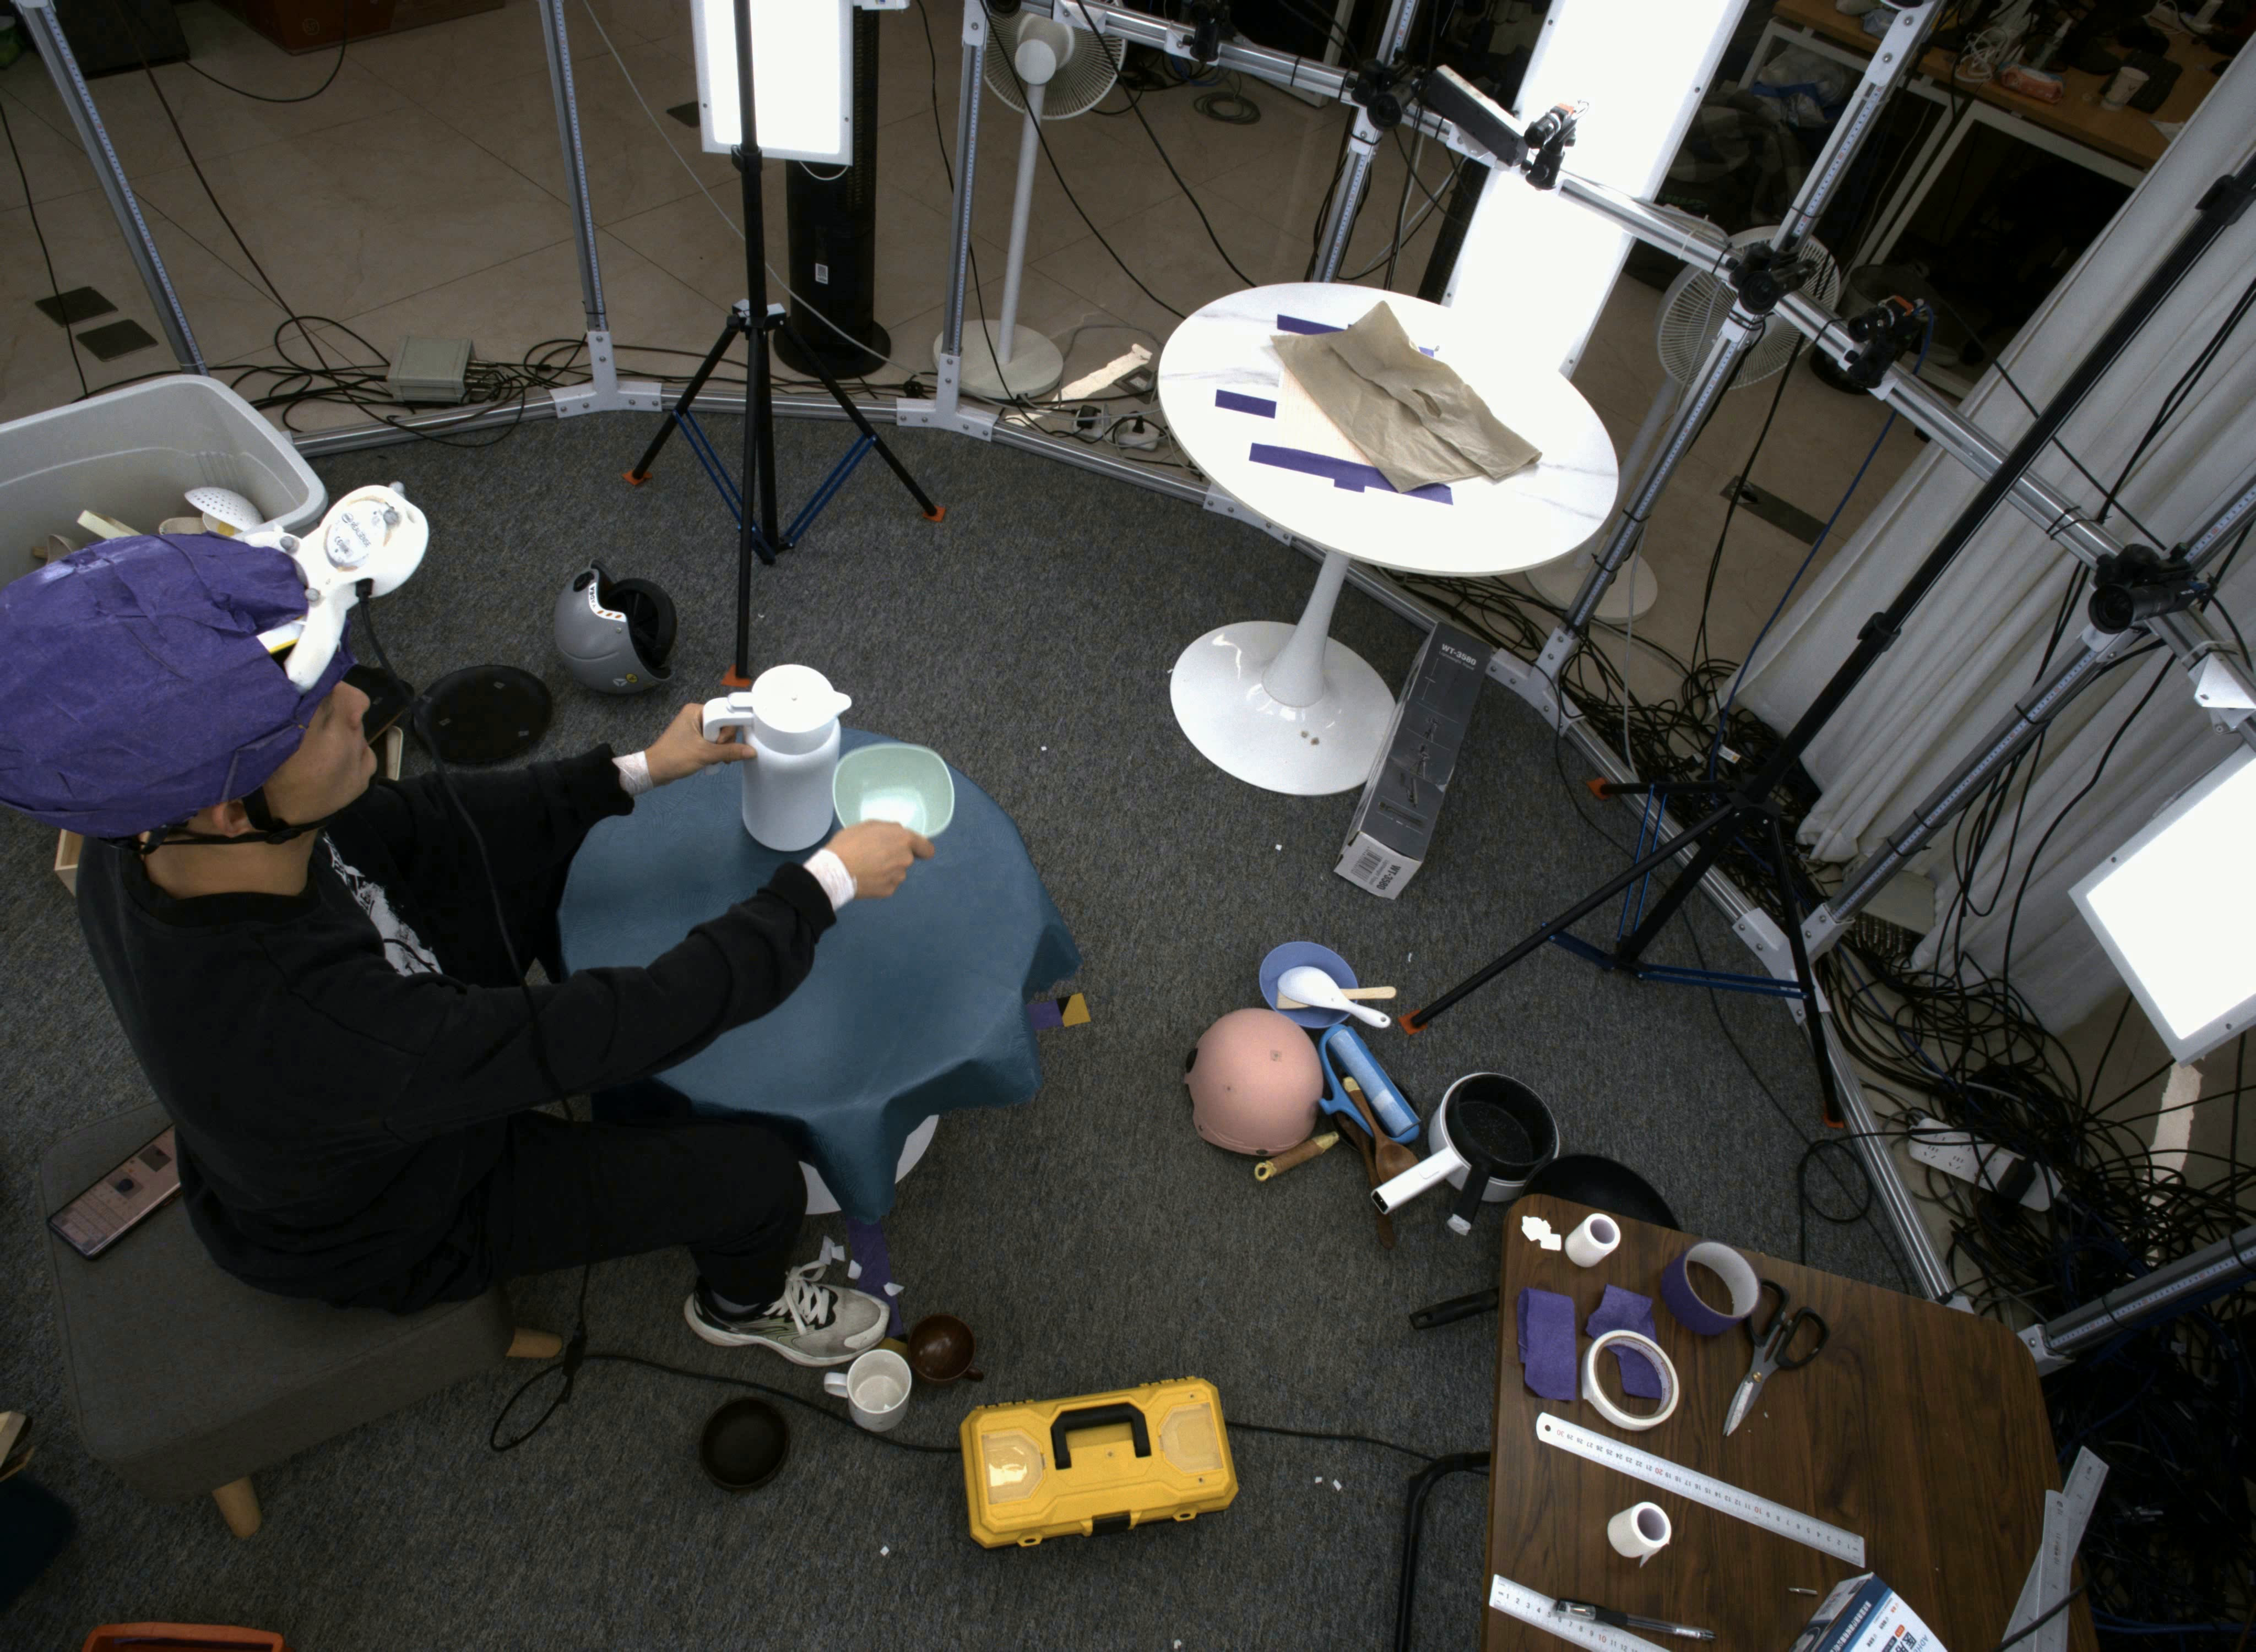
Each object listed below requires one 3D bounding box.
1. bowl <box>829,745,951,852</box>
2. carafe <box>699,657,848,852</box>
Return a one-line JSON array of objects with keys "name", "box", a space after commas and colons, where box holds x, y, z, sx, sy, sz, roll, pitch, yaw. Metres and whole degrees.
[{"name": "bowl", "box": [-0.277, -0.023, 1.514, 0.151, 0.060, 0.149, 8, 55, -9]}, {"name": "carafe", "box": [-0.439, -0.083, 1.601, 0.174, 0.272, 0.122, -5, 61, -19]}]
